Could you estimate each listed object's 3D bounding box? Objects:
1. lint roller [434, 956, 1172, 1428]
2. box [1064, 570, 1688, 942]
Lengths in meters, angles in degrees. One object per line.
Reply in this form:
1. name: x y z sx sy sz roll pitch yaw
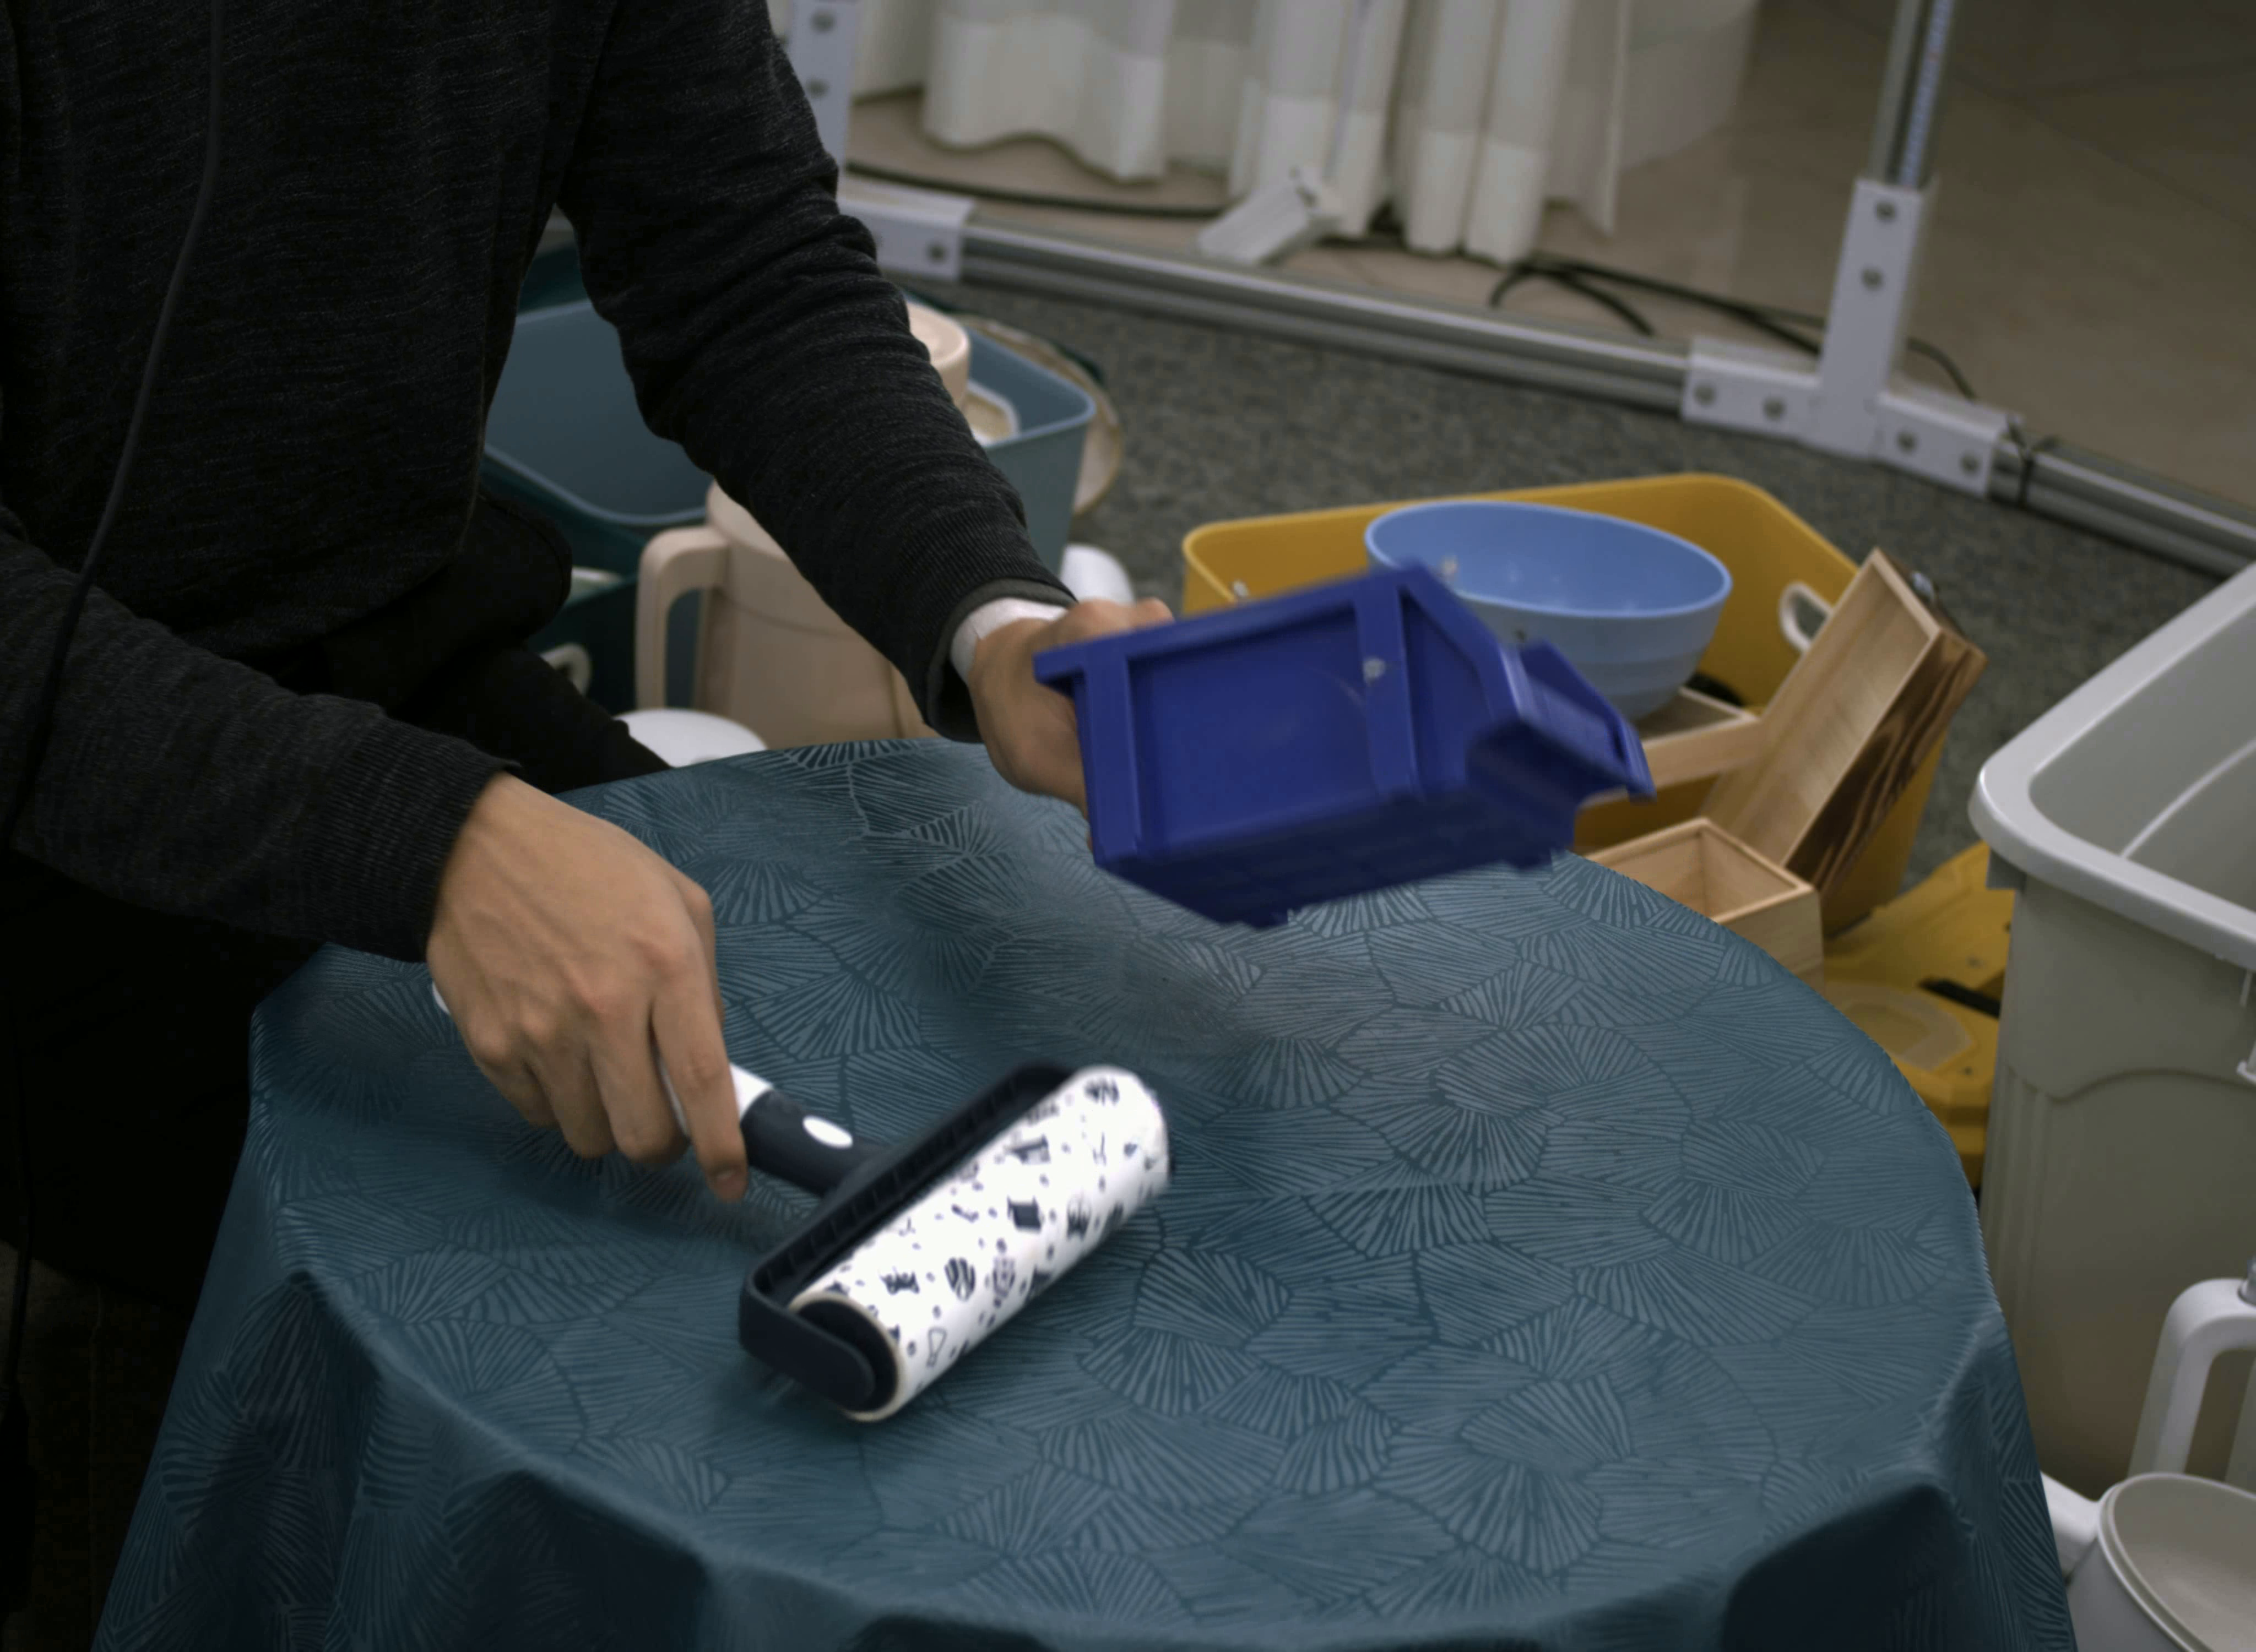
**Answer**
1. lint roller: -0.130 0.096 1.748 0.248 0.050 0.176 26 36 24
2. box: 0.088 -0.023 1.847 0.179 0.082 0.123 -14 -20 26
